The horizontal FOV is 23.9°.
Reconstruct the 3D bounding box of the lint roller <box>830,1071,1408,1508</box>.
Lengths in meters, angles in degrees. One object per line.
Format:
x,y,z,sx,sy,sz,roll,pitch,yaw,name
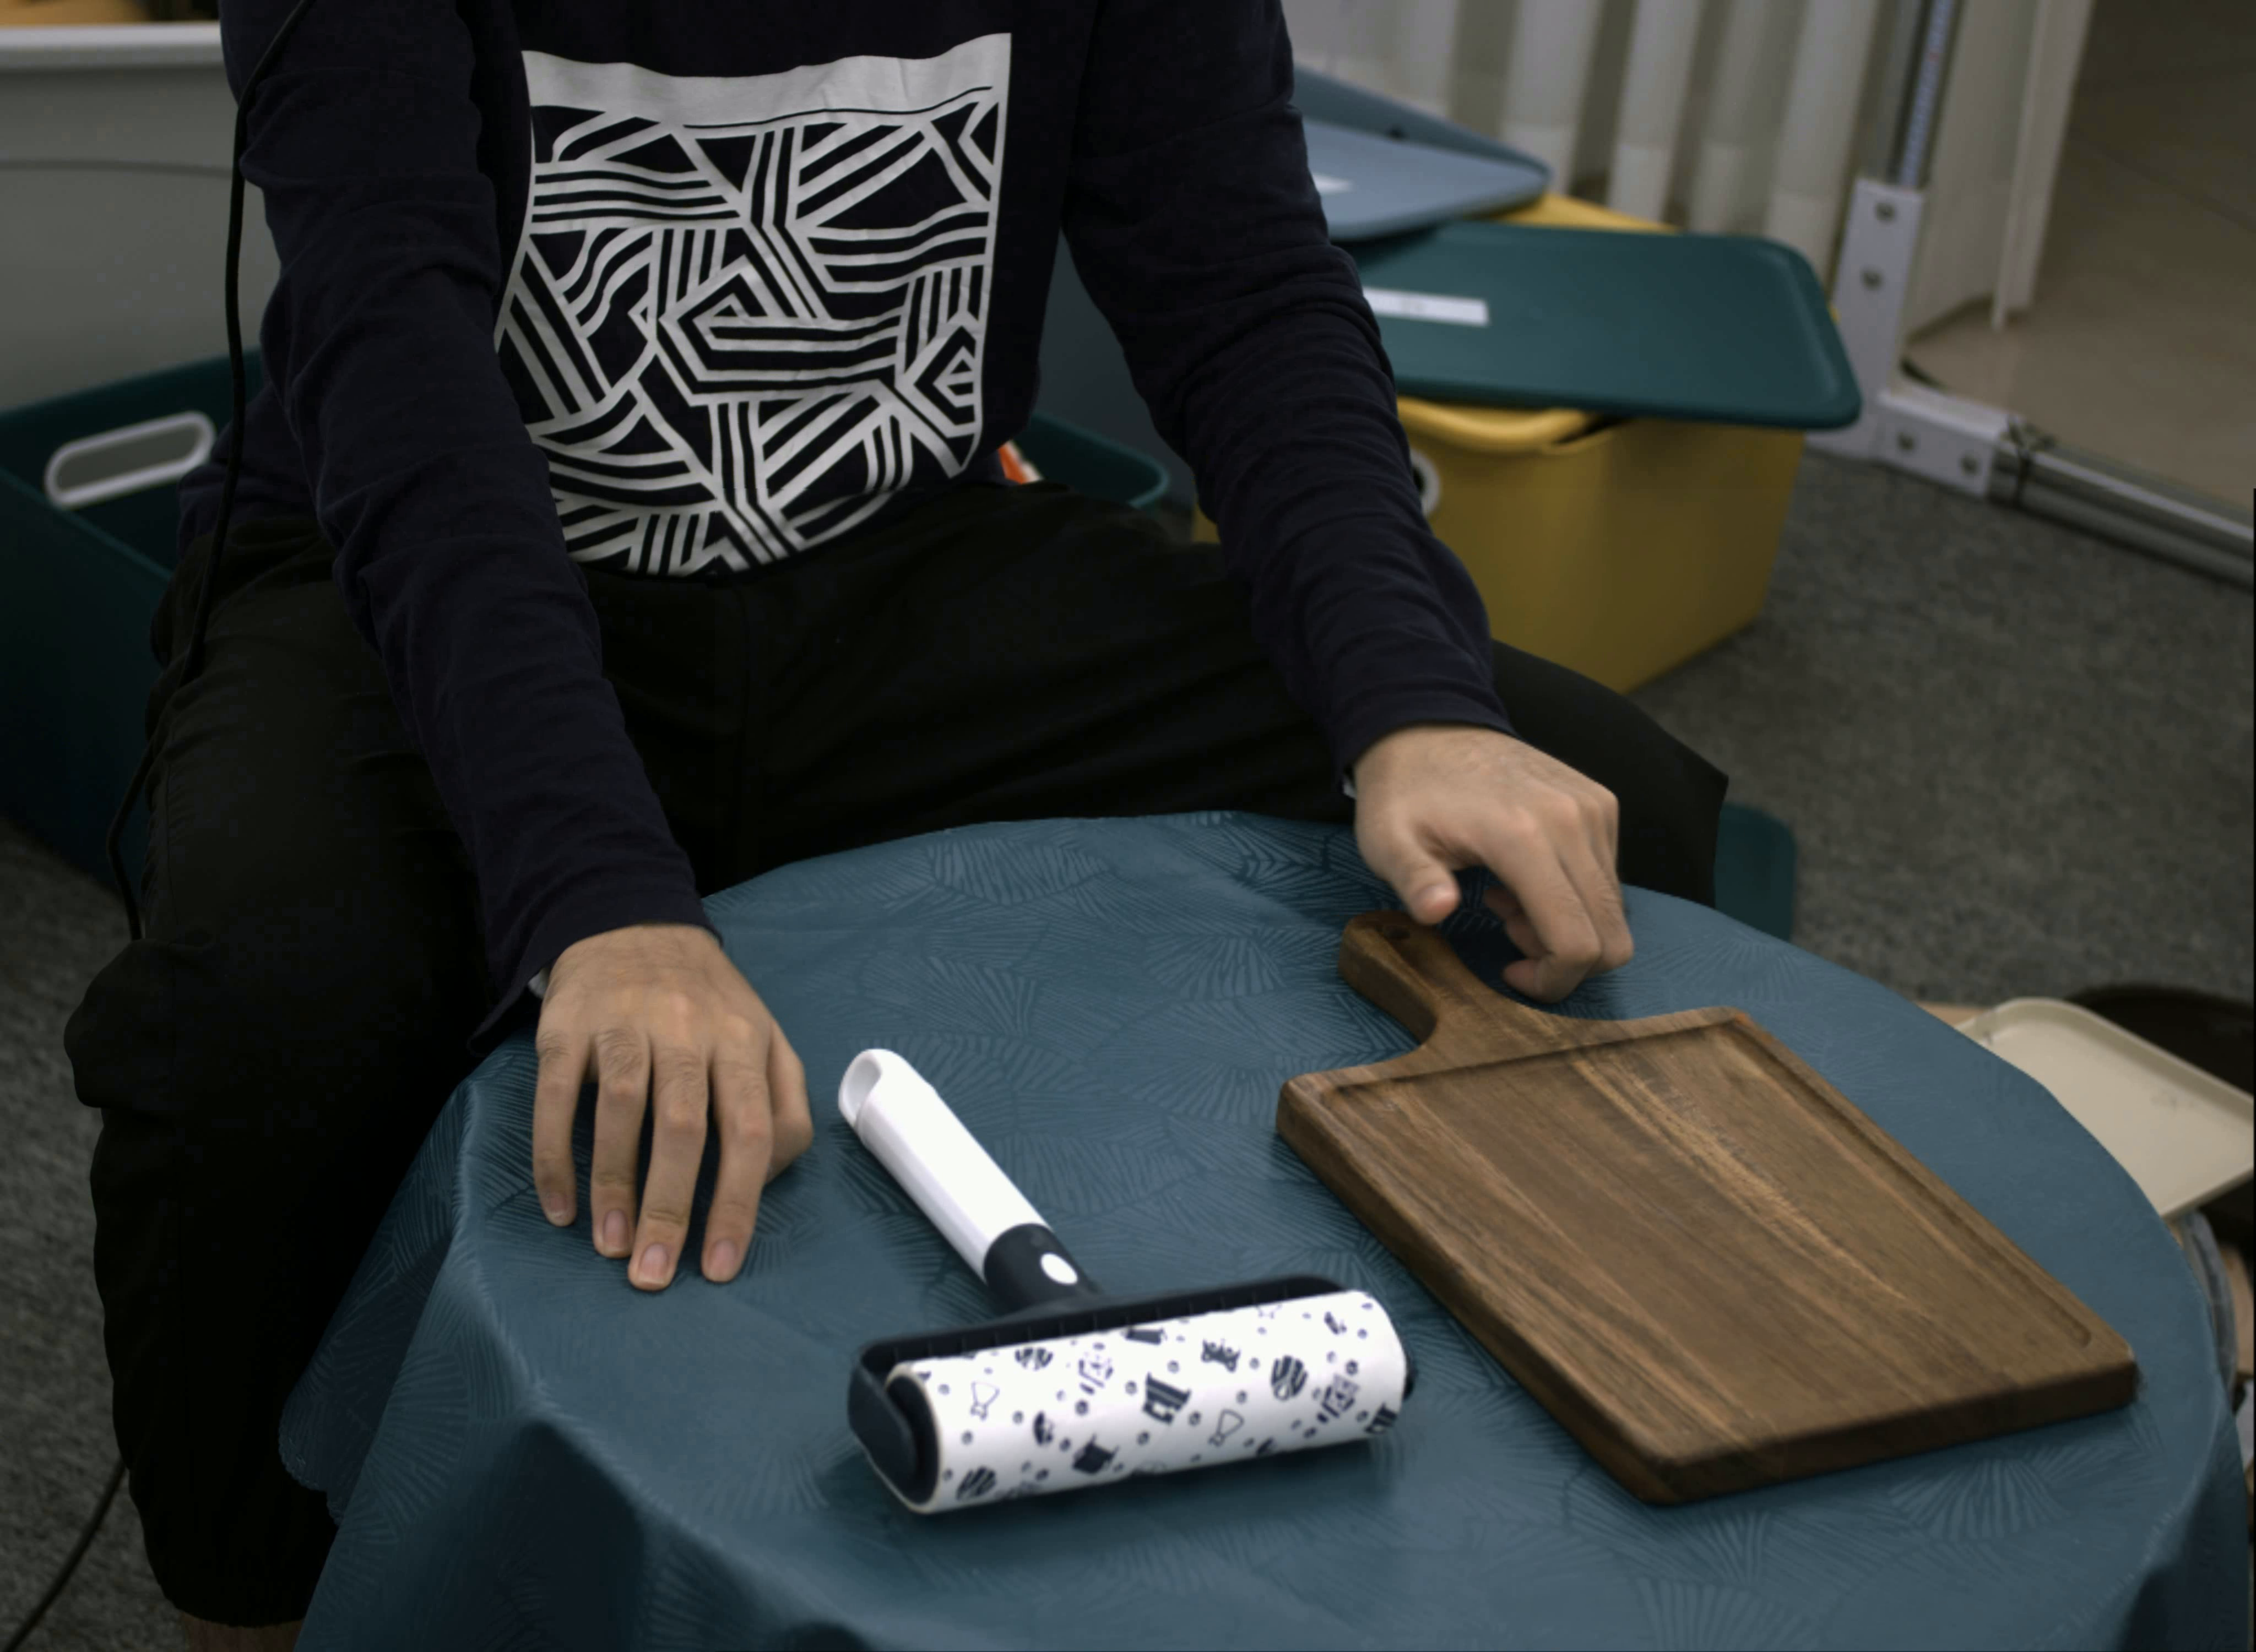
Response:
-0.042,0.135,1.728,0.175,0.050,0.249,-8,28,-25,lint roller

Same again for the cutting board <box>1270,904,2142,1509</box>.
0.168,0.116,1.834,0.200,0.023,0.355,-8,30,-28,cutting board
